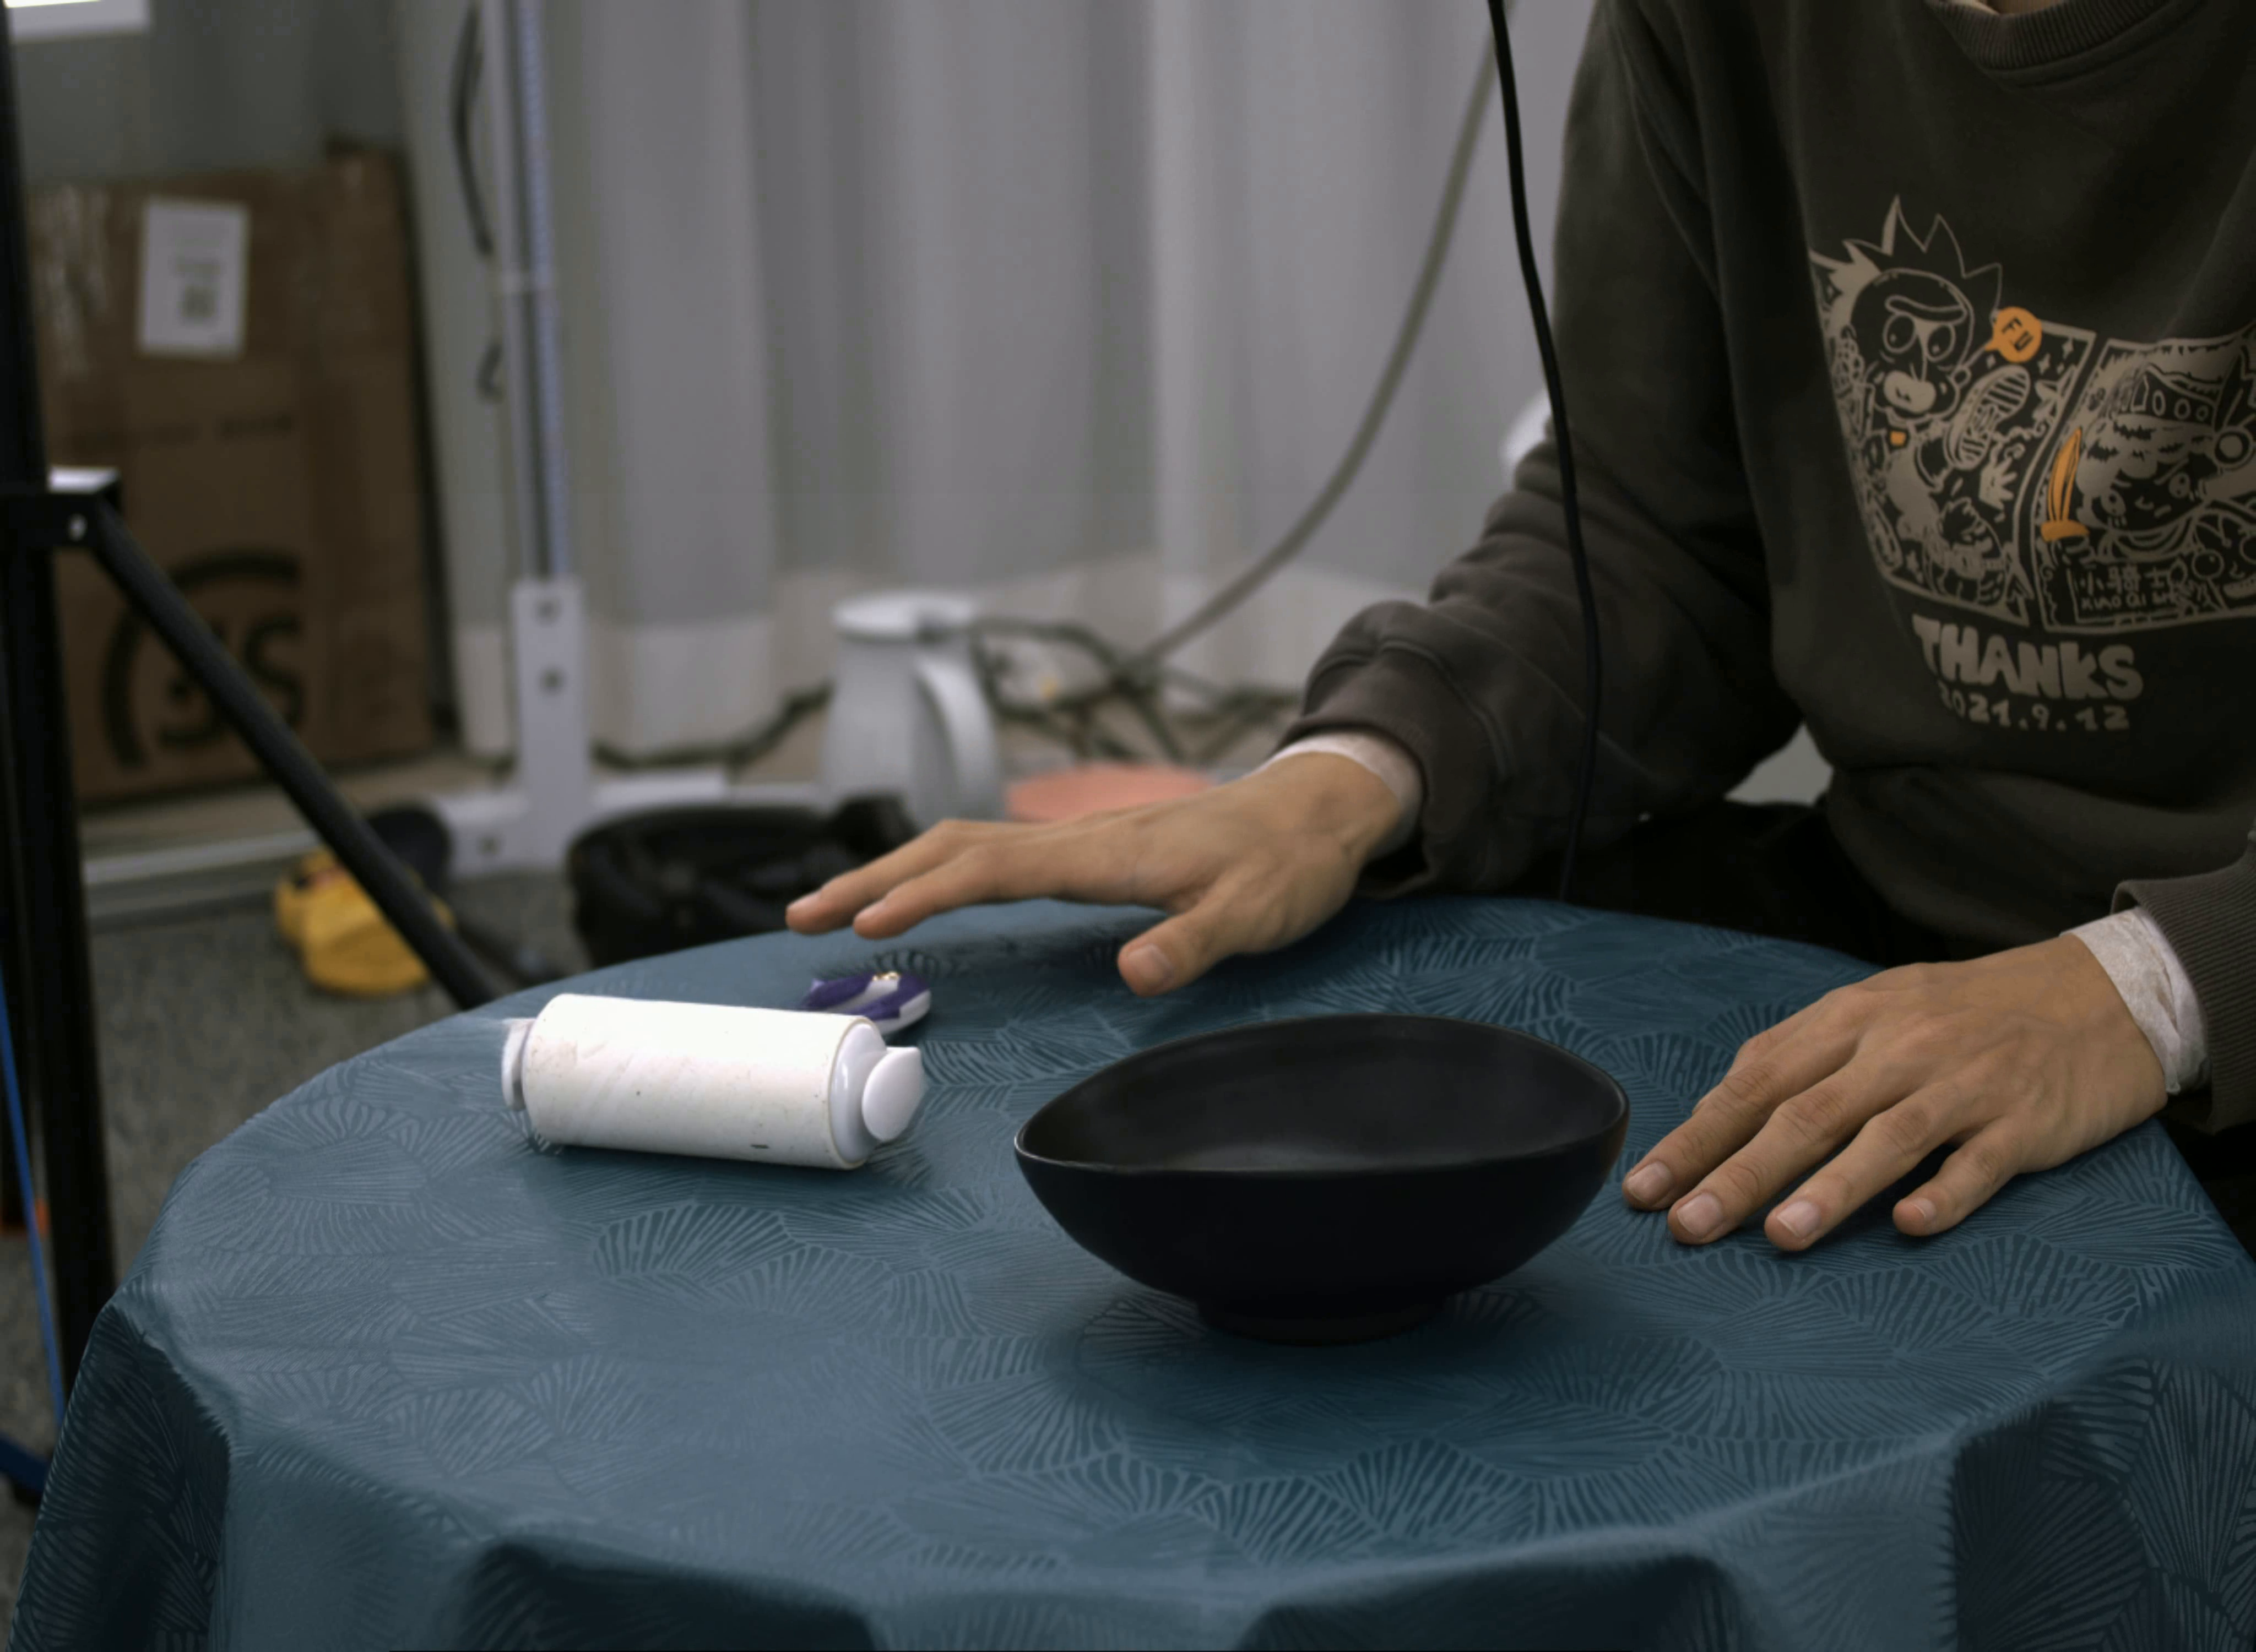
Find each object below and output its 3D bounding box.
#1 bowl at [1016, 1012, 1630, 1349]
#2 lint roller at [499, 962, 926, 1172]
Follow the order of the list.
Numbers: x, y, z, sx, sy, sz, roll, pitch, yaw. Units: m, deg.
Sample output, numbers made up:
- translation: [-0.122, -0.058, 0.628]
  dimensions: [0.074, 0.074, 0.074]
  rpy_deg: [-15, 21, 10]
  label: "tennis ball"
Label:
- translation: [0.054, 0.103, 1.457]
  dimensions: [0.170, 0.067, 0.137]
  rpy_deg: [-2, 14, 8]
  label: "bowl"
- translation: [-0.104, 0.058, 1.668]
  dimensions: [0.135, 0.050, 0.178]
  rpy_deg: [3, 19, 23]
  label: "lint roller"
